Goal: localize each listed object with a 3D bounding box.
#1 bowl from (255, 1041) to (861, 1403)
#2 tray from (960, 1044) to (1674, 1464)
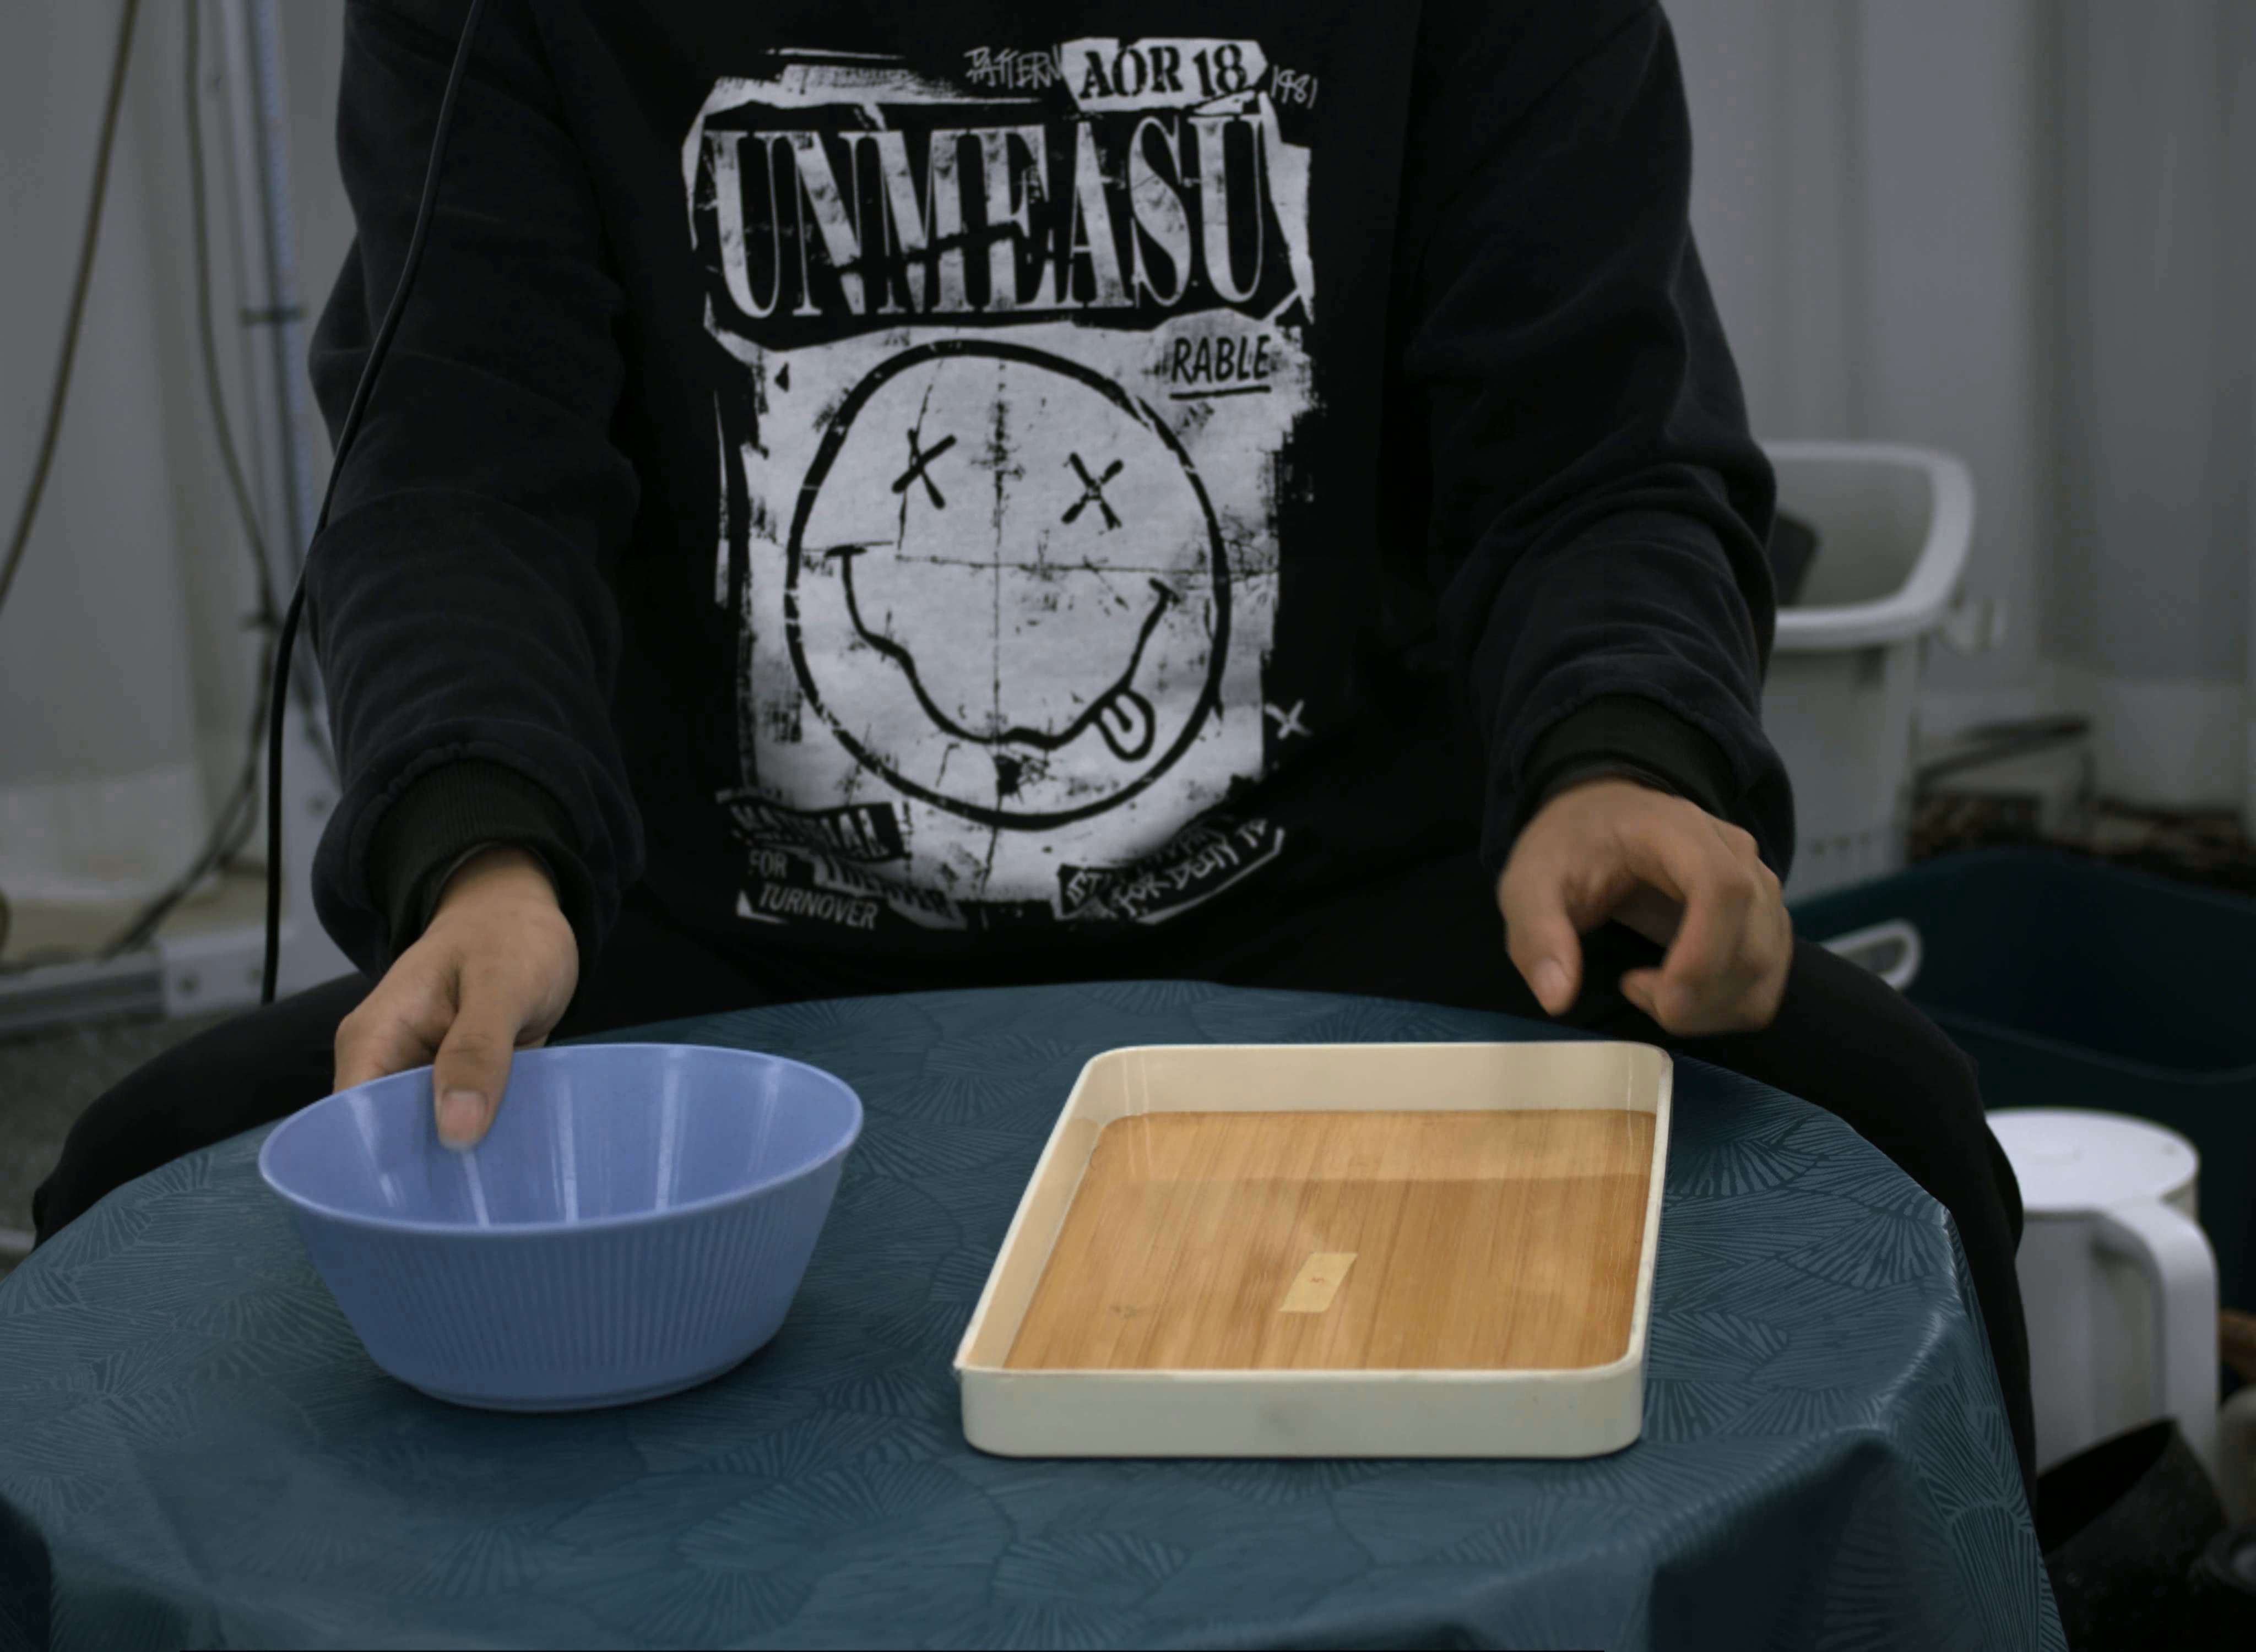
[{"bbox_3d":[-0.164,0.118,1.592,0.175,0.070,0.177,-2,14,0],"label":"bowl"},{"bbox_3d":[0.064,0.122,1.623,0.191,0.027,0.302,0,15,8],"label":"tray"}]
